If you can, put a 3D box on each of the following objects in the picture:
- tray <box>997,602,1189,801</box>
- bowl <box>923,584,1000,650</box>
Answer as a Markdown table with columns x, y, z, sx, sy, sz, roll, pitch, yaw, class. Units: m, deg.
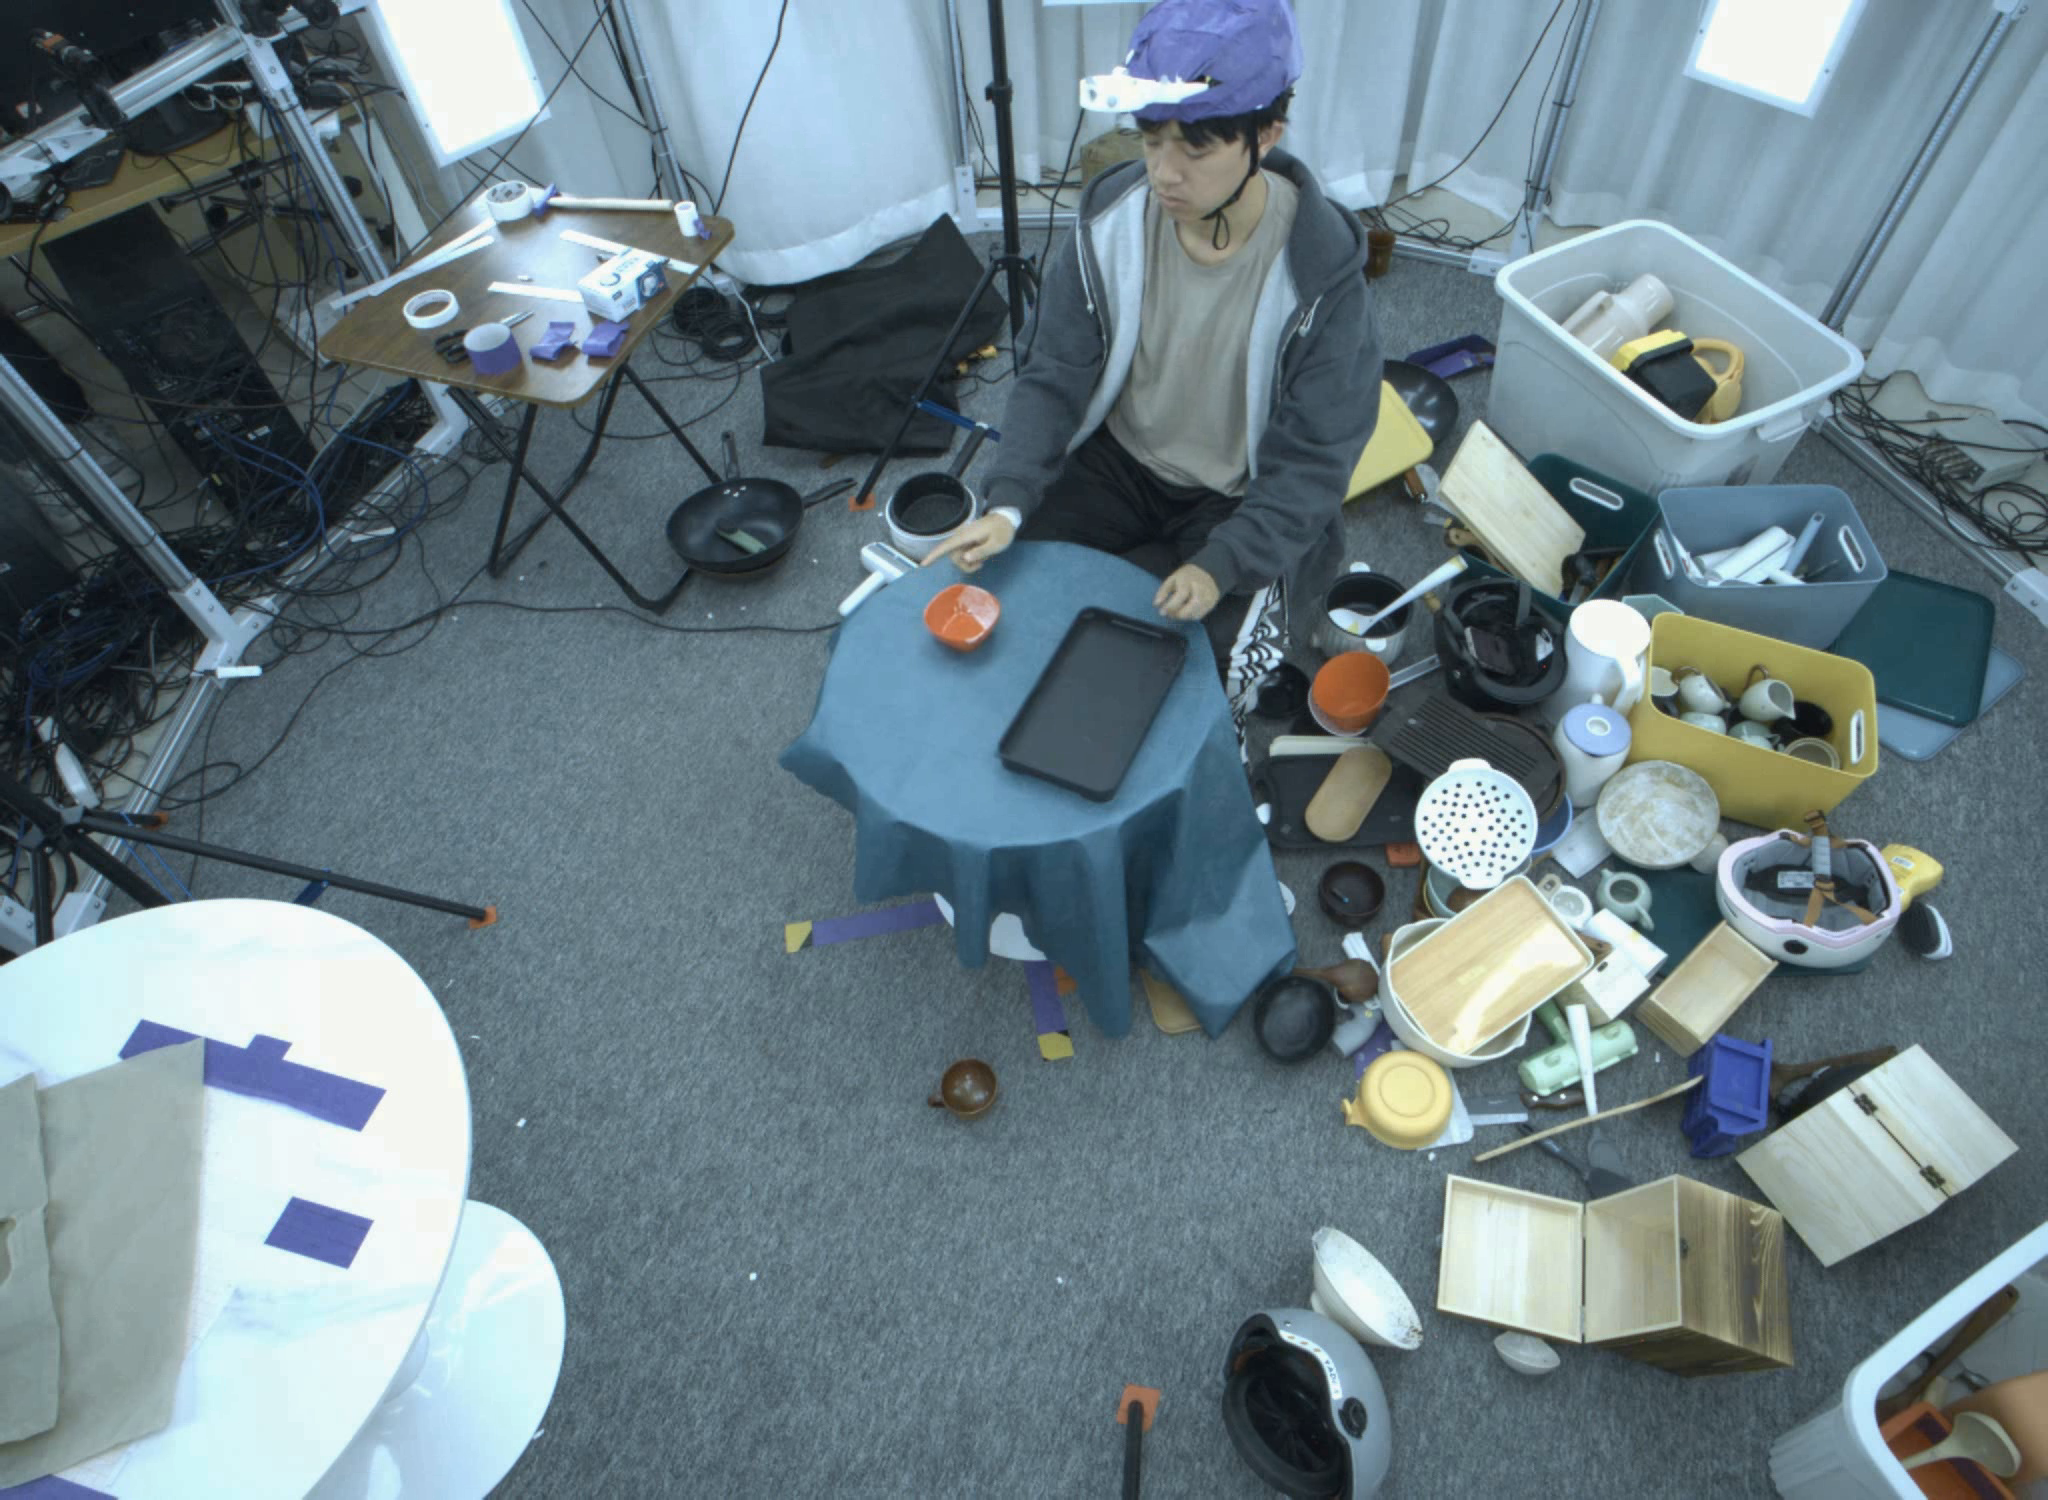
| x | y | z | sx | sy | sz | roll | pitch | yaw | class |
| --- | --- | --- | --- | --- | --- | --- | --- | --- | --- |
| 0.106 | -0.077 | 1.817 | 0.182 | 0.037 | 0.318 | 21 | 59 | 15 | tray |
| -0.094 | -0.199 | 1.901 | 0.119 | 0.052 | 0.118 | -1 | 55 | 3 | bowl |
